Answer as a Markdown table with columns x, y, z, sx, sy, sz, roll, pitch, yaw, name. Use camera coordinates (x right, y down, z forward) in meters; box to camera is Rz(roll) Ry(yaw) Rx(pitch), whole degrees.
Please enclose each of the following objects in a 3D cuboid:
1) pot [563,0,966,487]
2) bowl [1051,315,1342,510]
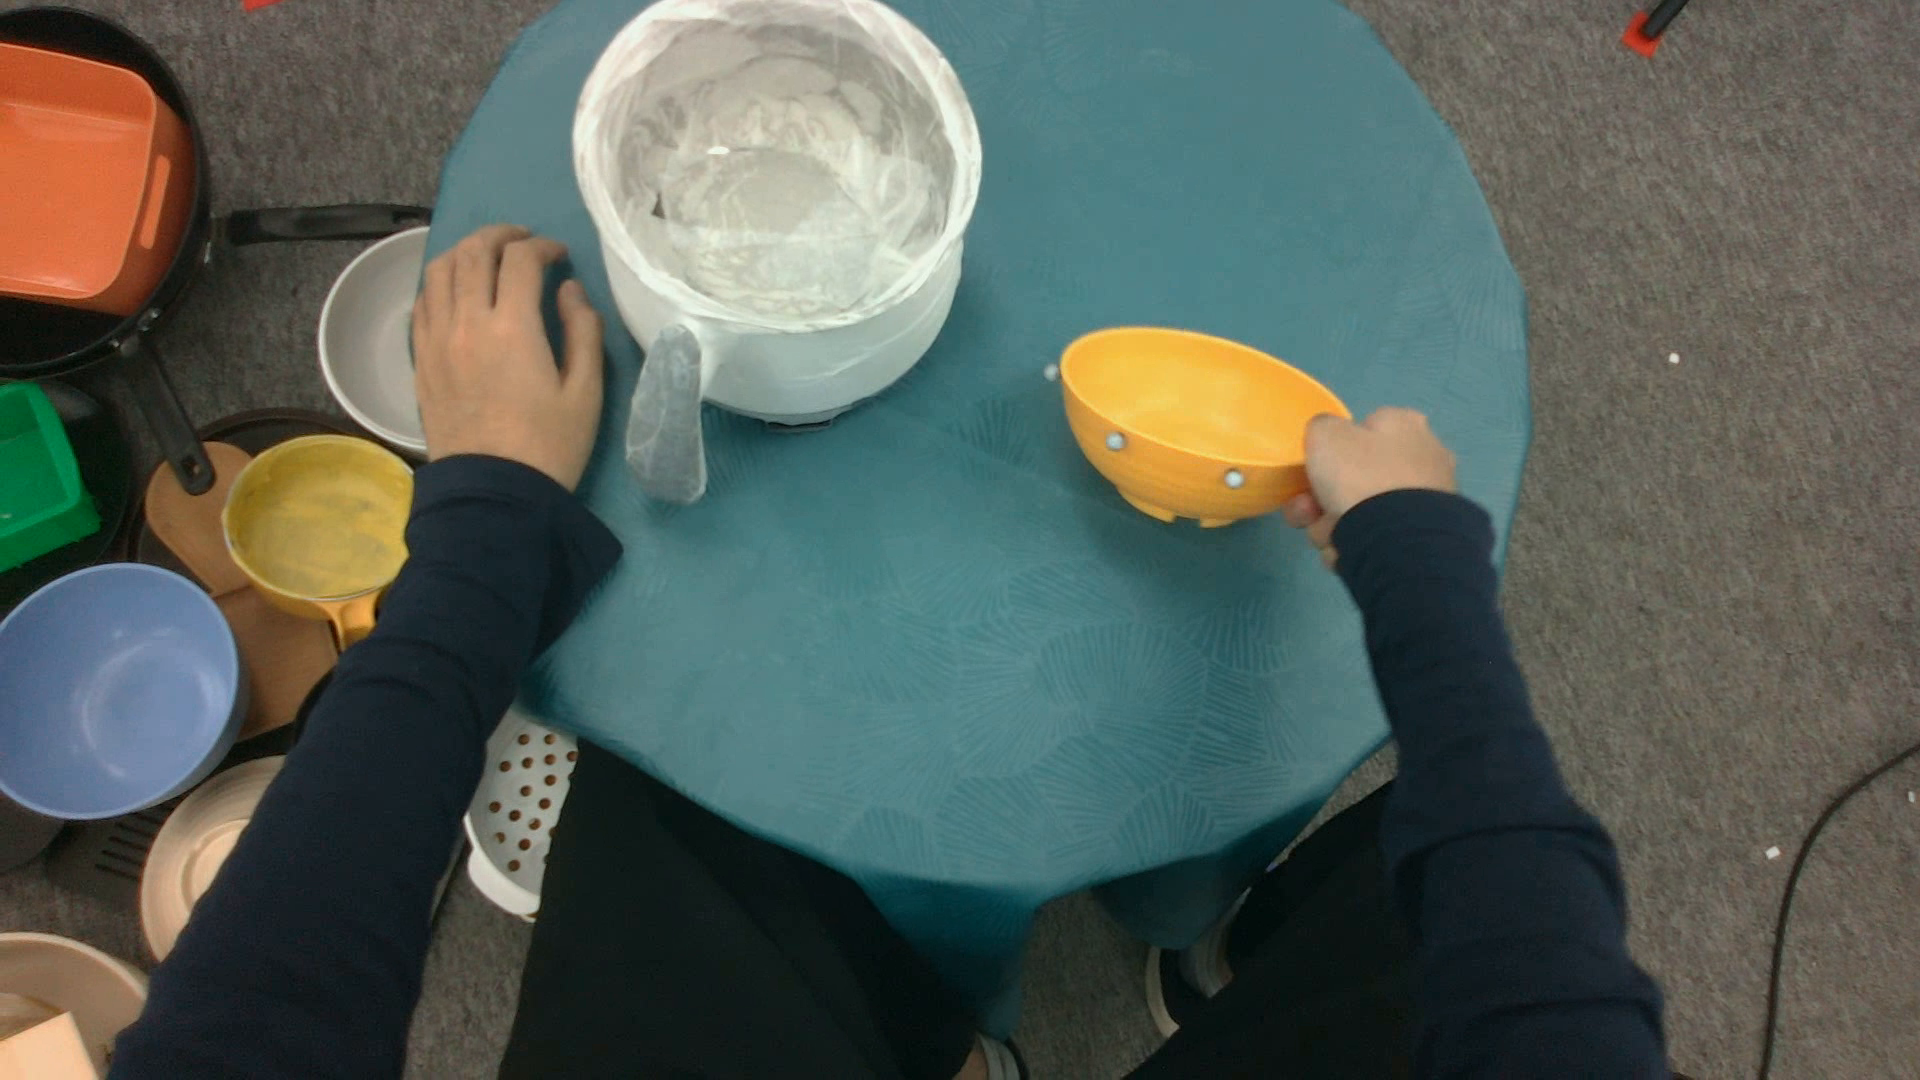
| x | y | z | sx | sy | sz | roll | pitch | yaw | name |
| --- | --- | --- | --- | --- | --- | --- | --- | --- | --- |
| -0.101 | -0.141 | 0.659 | 0.179 | 0.136 | 0.234 | 22 | 72 | 2 | pot |
| 0.111 | -0.056 | 0.685 | 0.145 | 0.060 | 0.146 | 8 | 30 | -5 | bowl |
